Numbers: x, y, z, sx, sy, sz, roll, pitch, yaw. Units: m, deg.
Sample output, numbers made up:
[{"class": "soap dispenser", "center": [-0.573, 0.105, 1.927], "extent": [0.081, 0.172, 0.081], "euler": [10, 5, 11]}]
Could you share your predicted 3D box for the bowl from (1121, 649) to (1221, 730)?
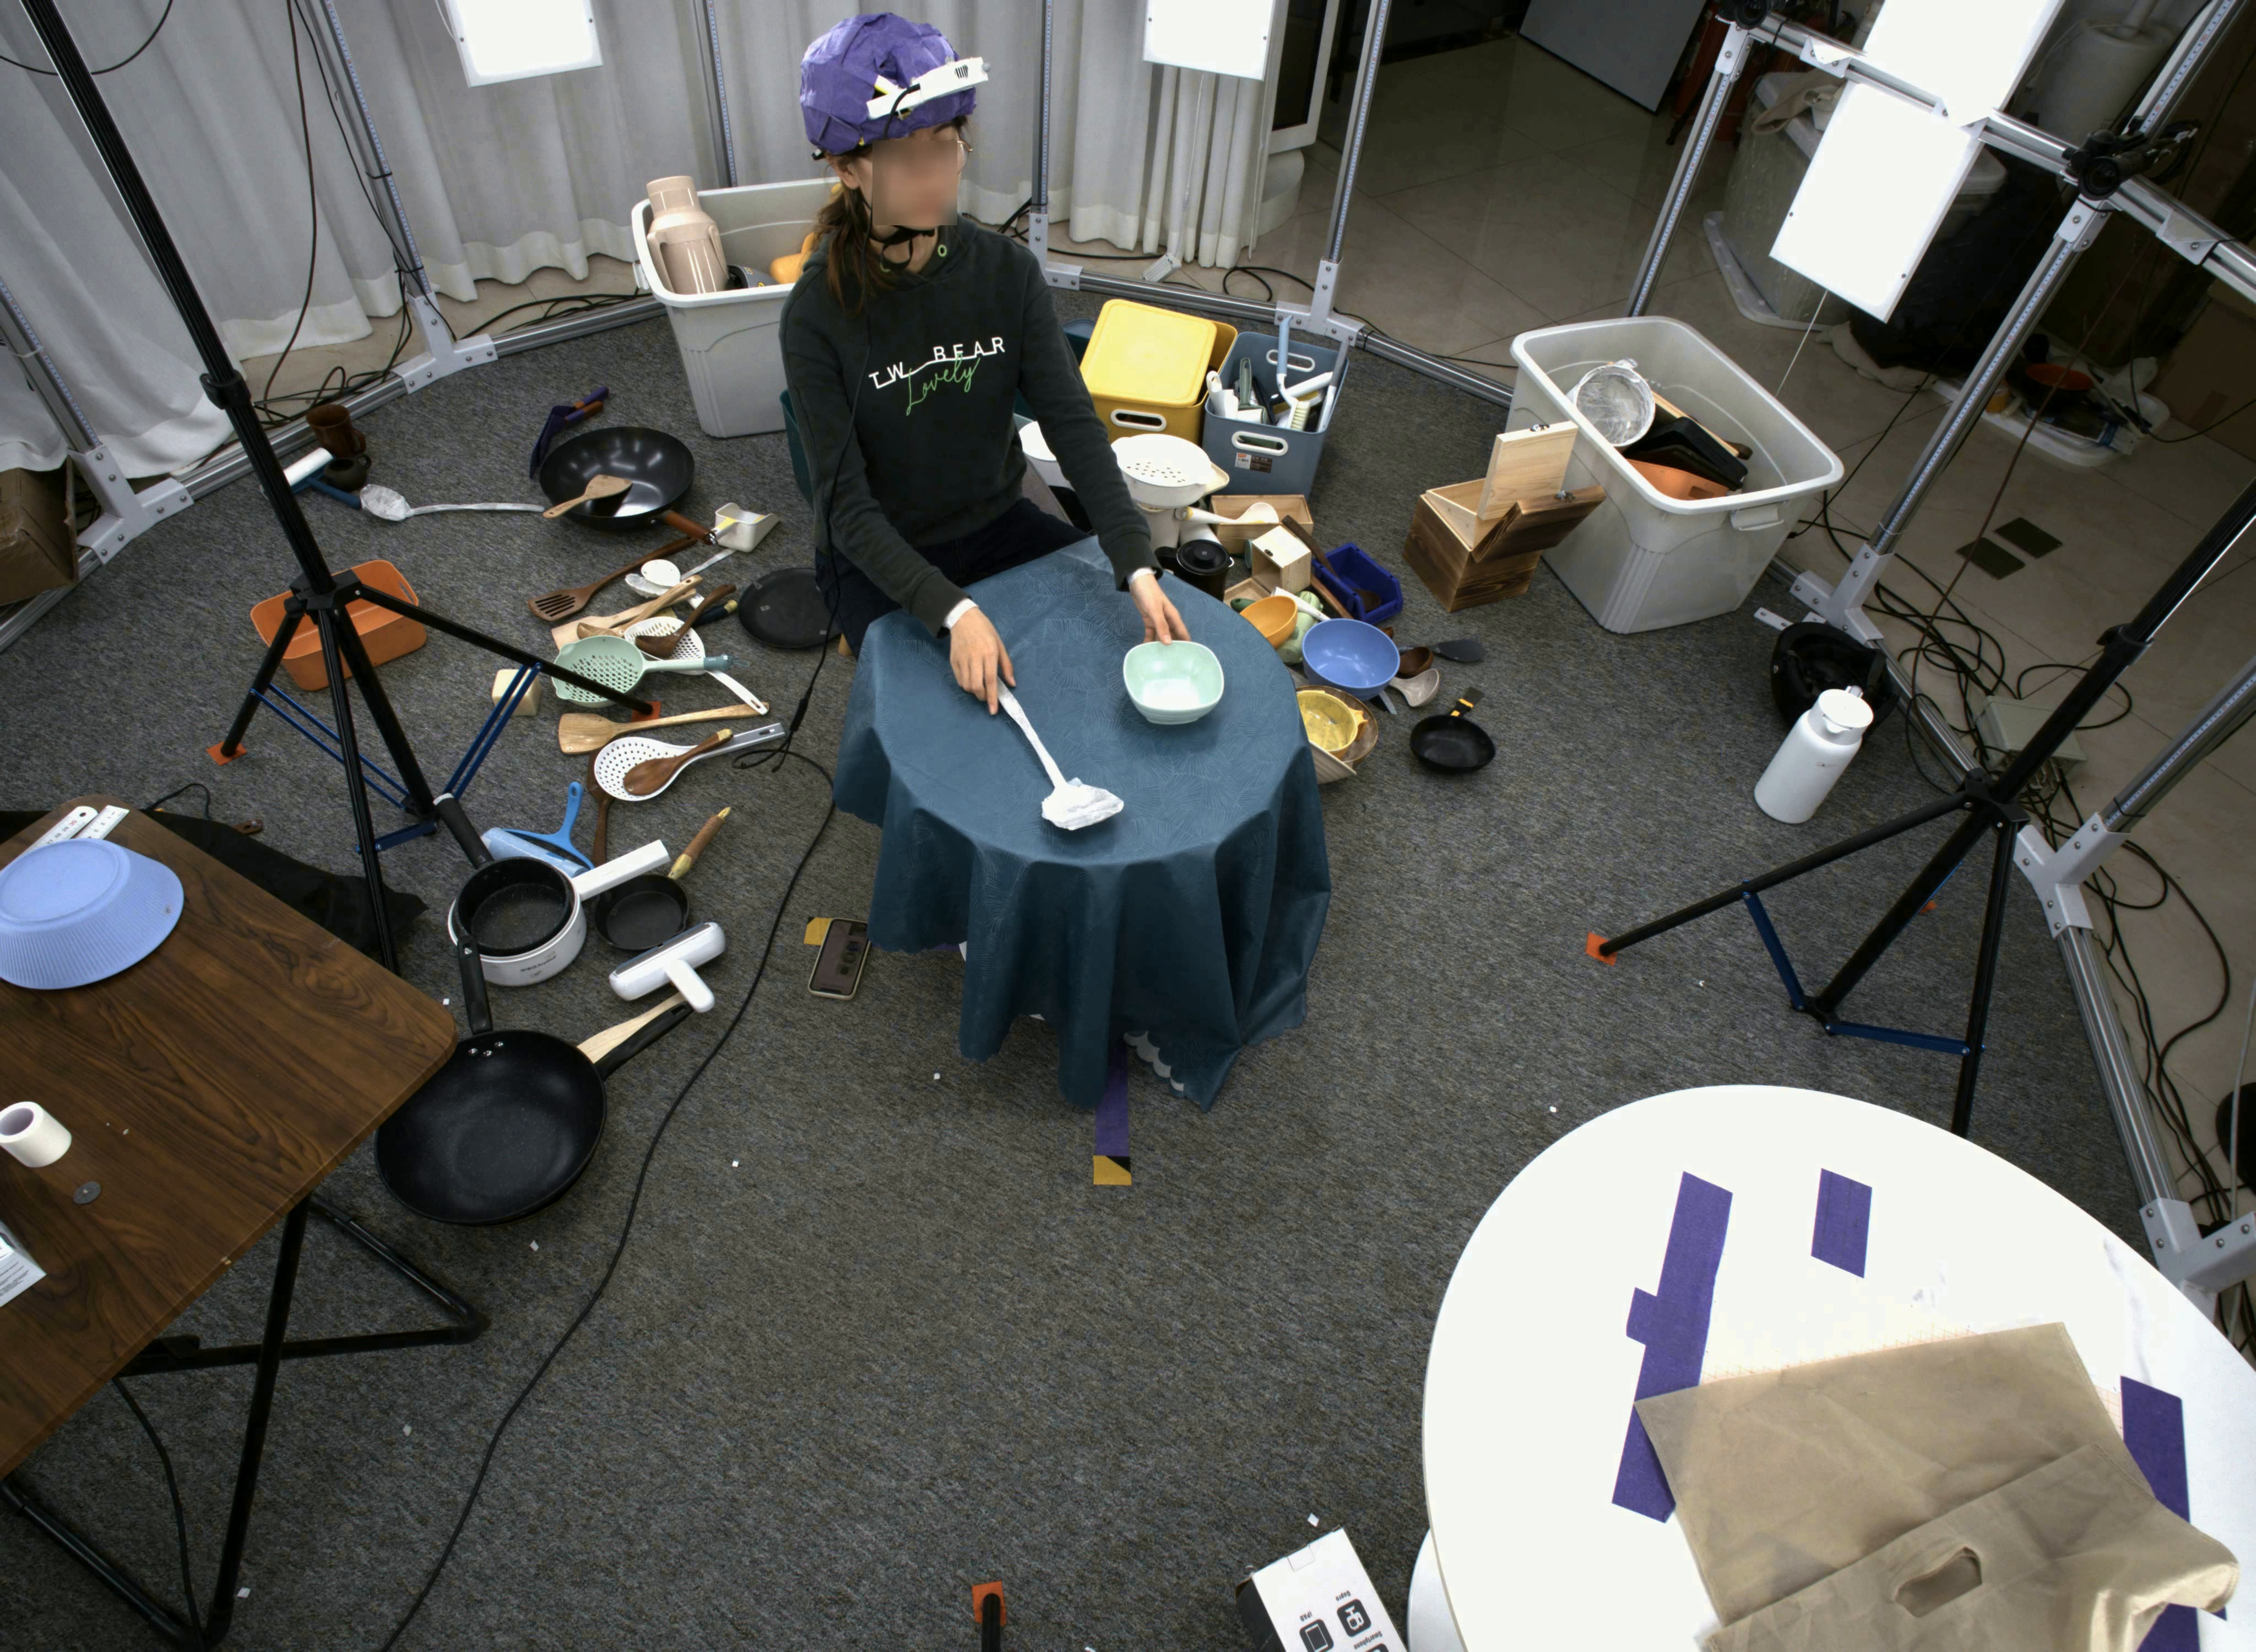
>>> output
[{"class": "bowl", "center": [0.059, -0.186, 1.821], "extent": [0.151, 0.057, 0.155], "euler": [2, 44, -2]}]

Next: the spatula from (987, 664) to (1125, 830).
[{"class": "spatula", "center": [-0.121, -0.119, 1.754], "extent": [0.099, 0.043, 0.373], "euler": [-20, 53, -18]}]
